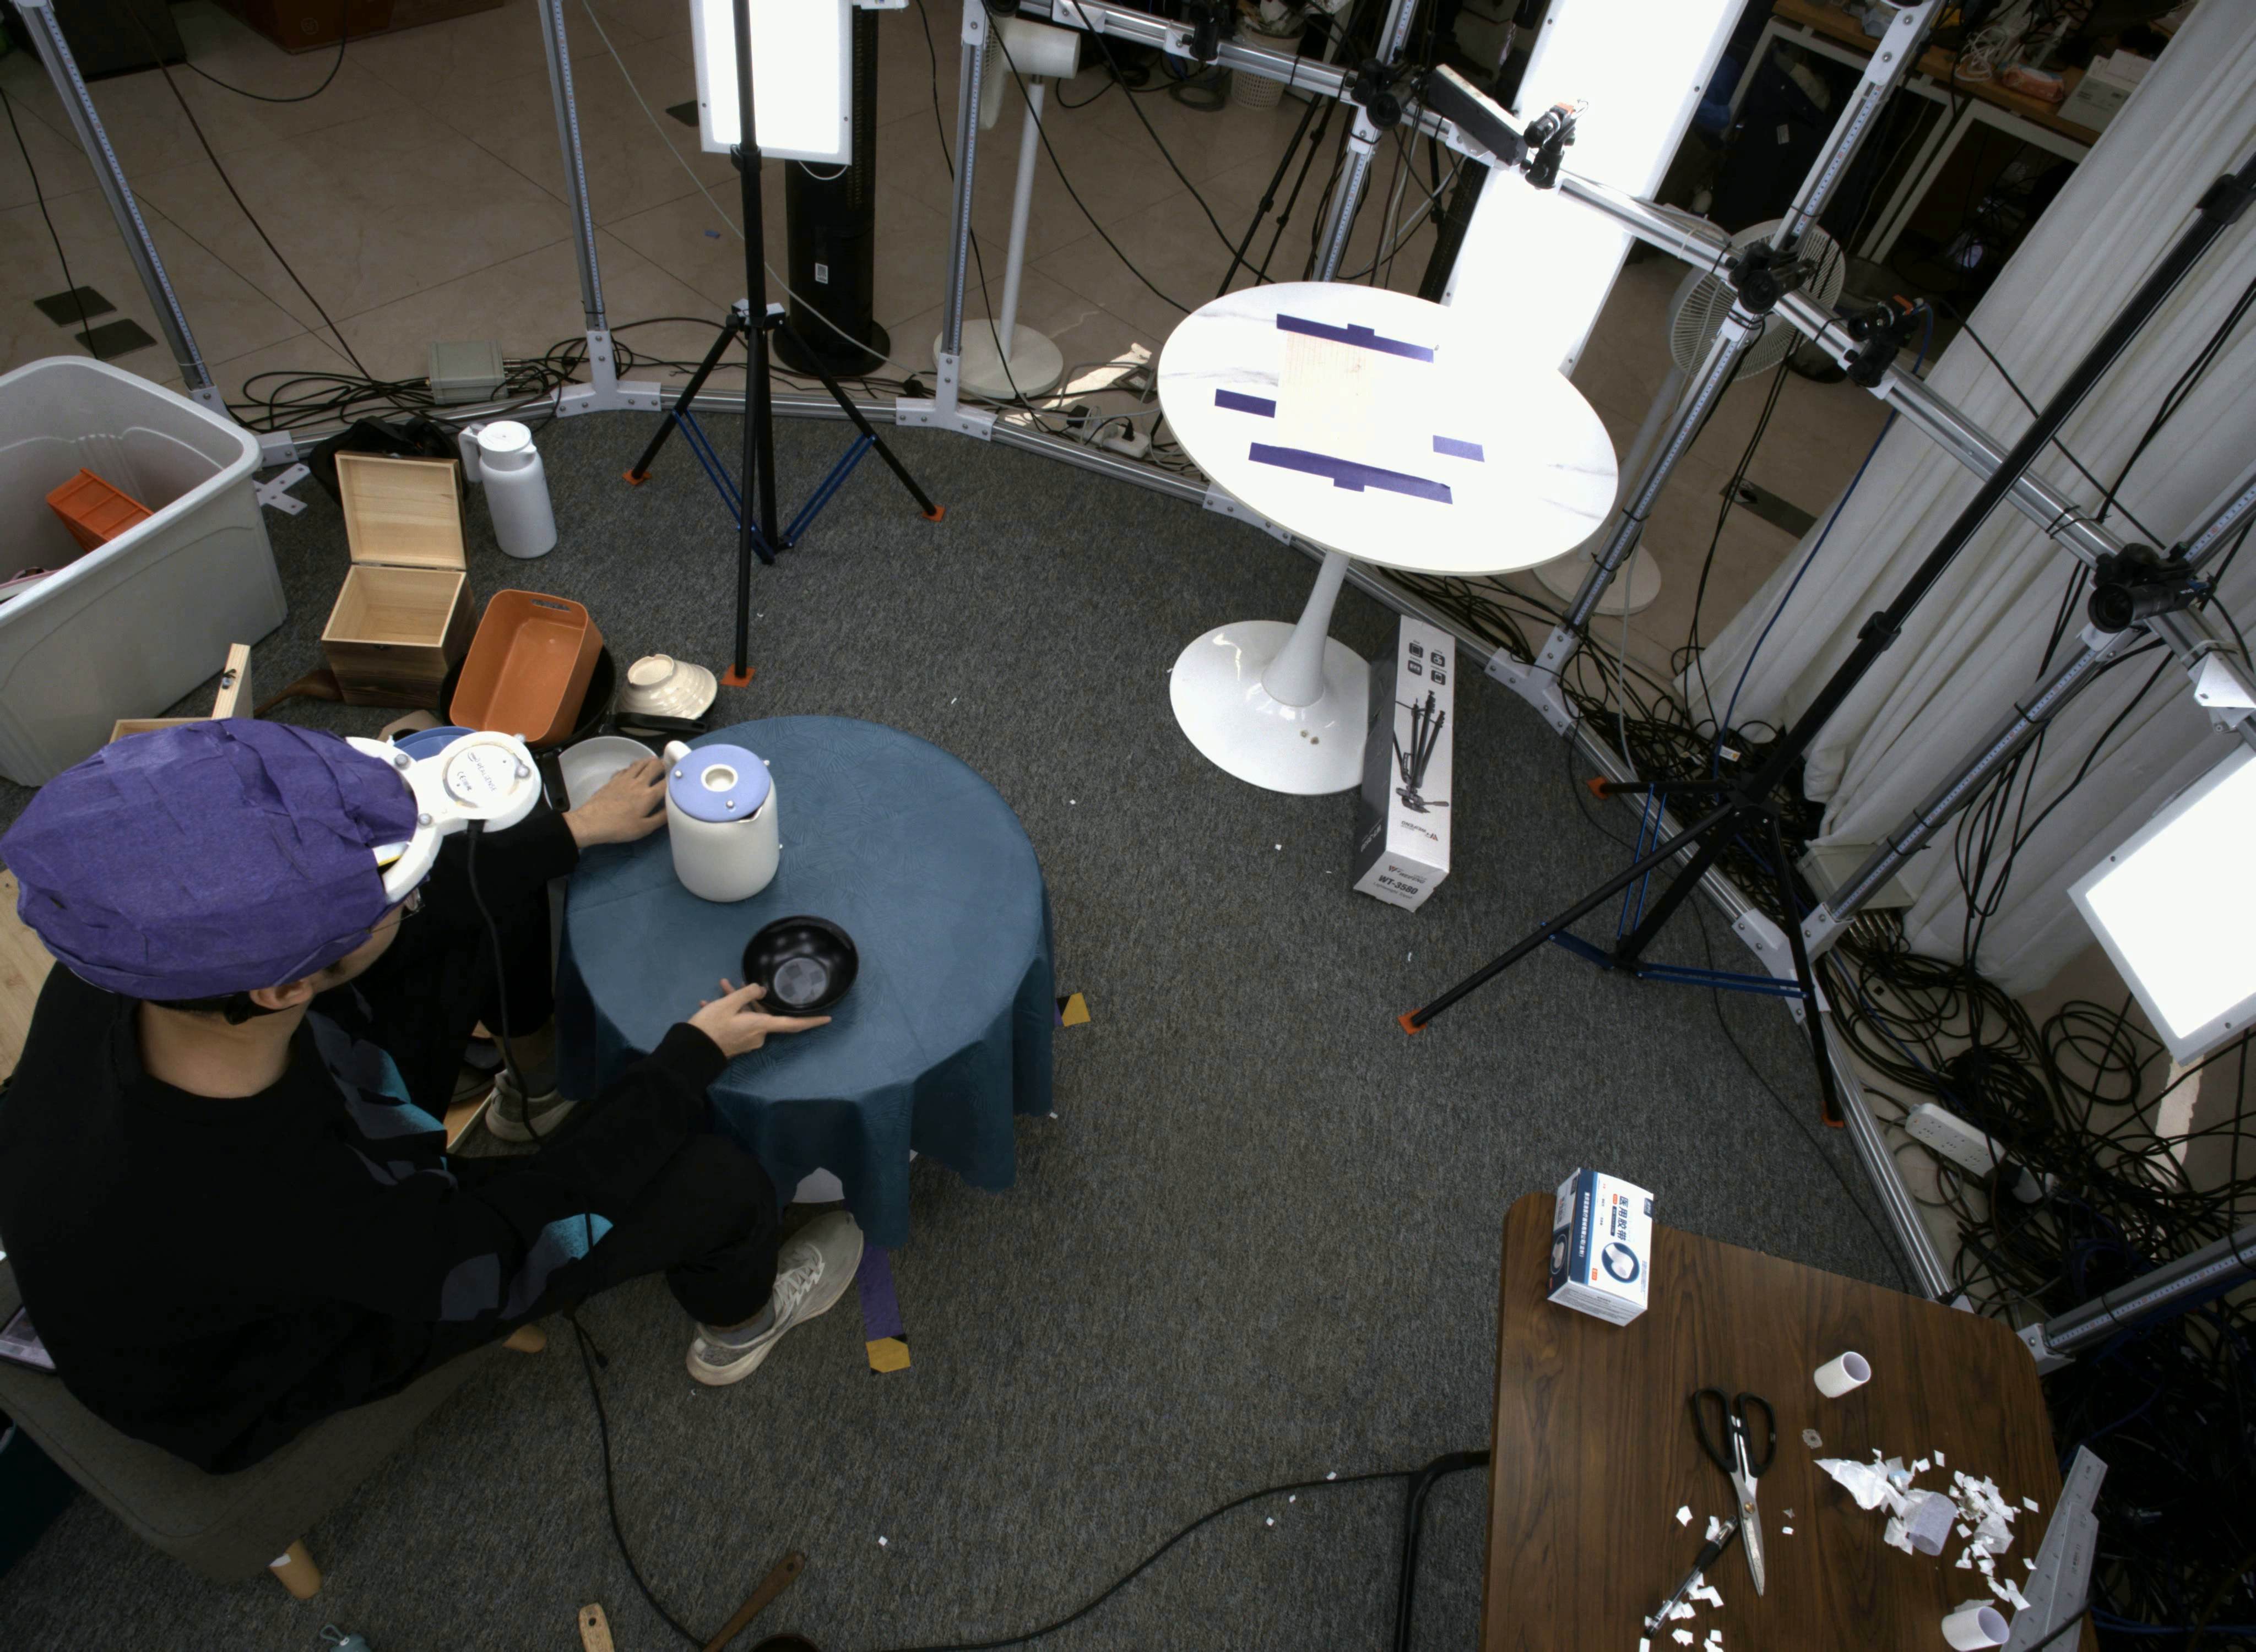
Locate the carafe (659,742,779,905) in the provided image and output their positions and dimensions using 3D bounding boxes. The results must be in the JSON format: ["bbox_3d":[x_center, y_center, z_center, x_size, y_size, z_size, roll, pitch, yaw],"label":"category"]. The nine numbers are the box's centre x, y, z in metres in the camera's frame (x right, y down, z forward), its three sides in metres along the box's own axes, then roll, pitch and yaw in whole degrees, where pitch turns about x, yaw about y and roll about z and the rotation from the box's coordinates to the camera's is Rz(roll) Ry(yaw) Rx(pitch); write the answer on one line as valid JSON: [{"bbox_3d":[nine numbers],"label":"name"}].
[{"bbox_3d":[-0.521,-0.019,1.608,0.186,0.187,0.132,38,53,19],"label":"carafe"}]

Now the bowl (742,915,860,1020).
[{"bbox_3d":[-0.396,0.177,1.576,0.139,0.051,0.137,7,54,-7],"label":"bowl"}]
